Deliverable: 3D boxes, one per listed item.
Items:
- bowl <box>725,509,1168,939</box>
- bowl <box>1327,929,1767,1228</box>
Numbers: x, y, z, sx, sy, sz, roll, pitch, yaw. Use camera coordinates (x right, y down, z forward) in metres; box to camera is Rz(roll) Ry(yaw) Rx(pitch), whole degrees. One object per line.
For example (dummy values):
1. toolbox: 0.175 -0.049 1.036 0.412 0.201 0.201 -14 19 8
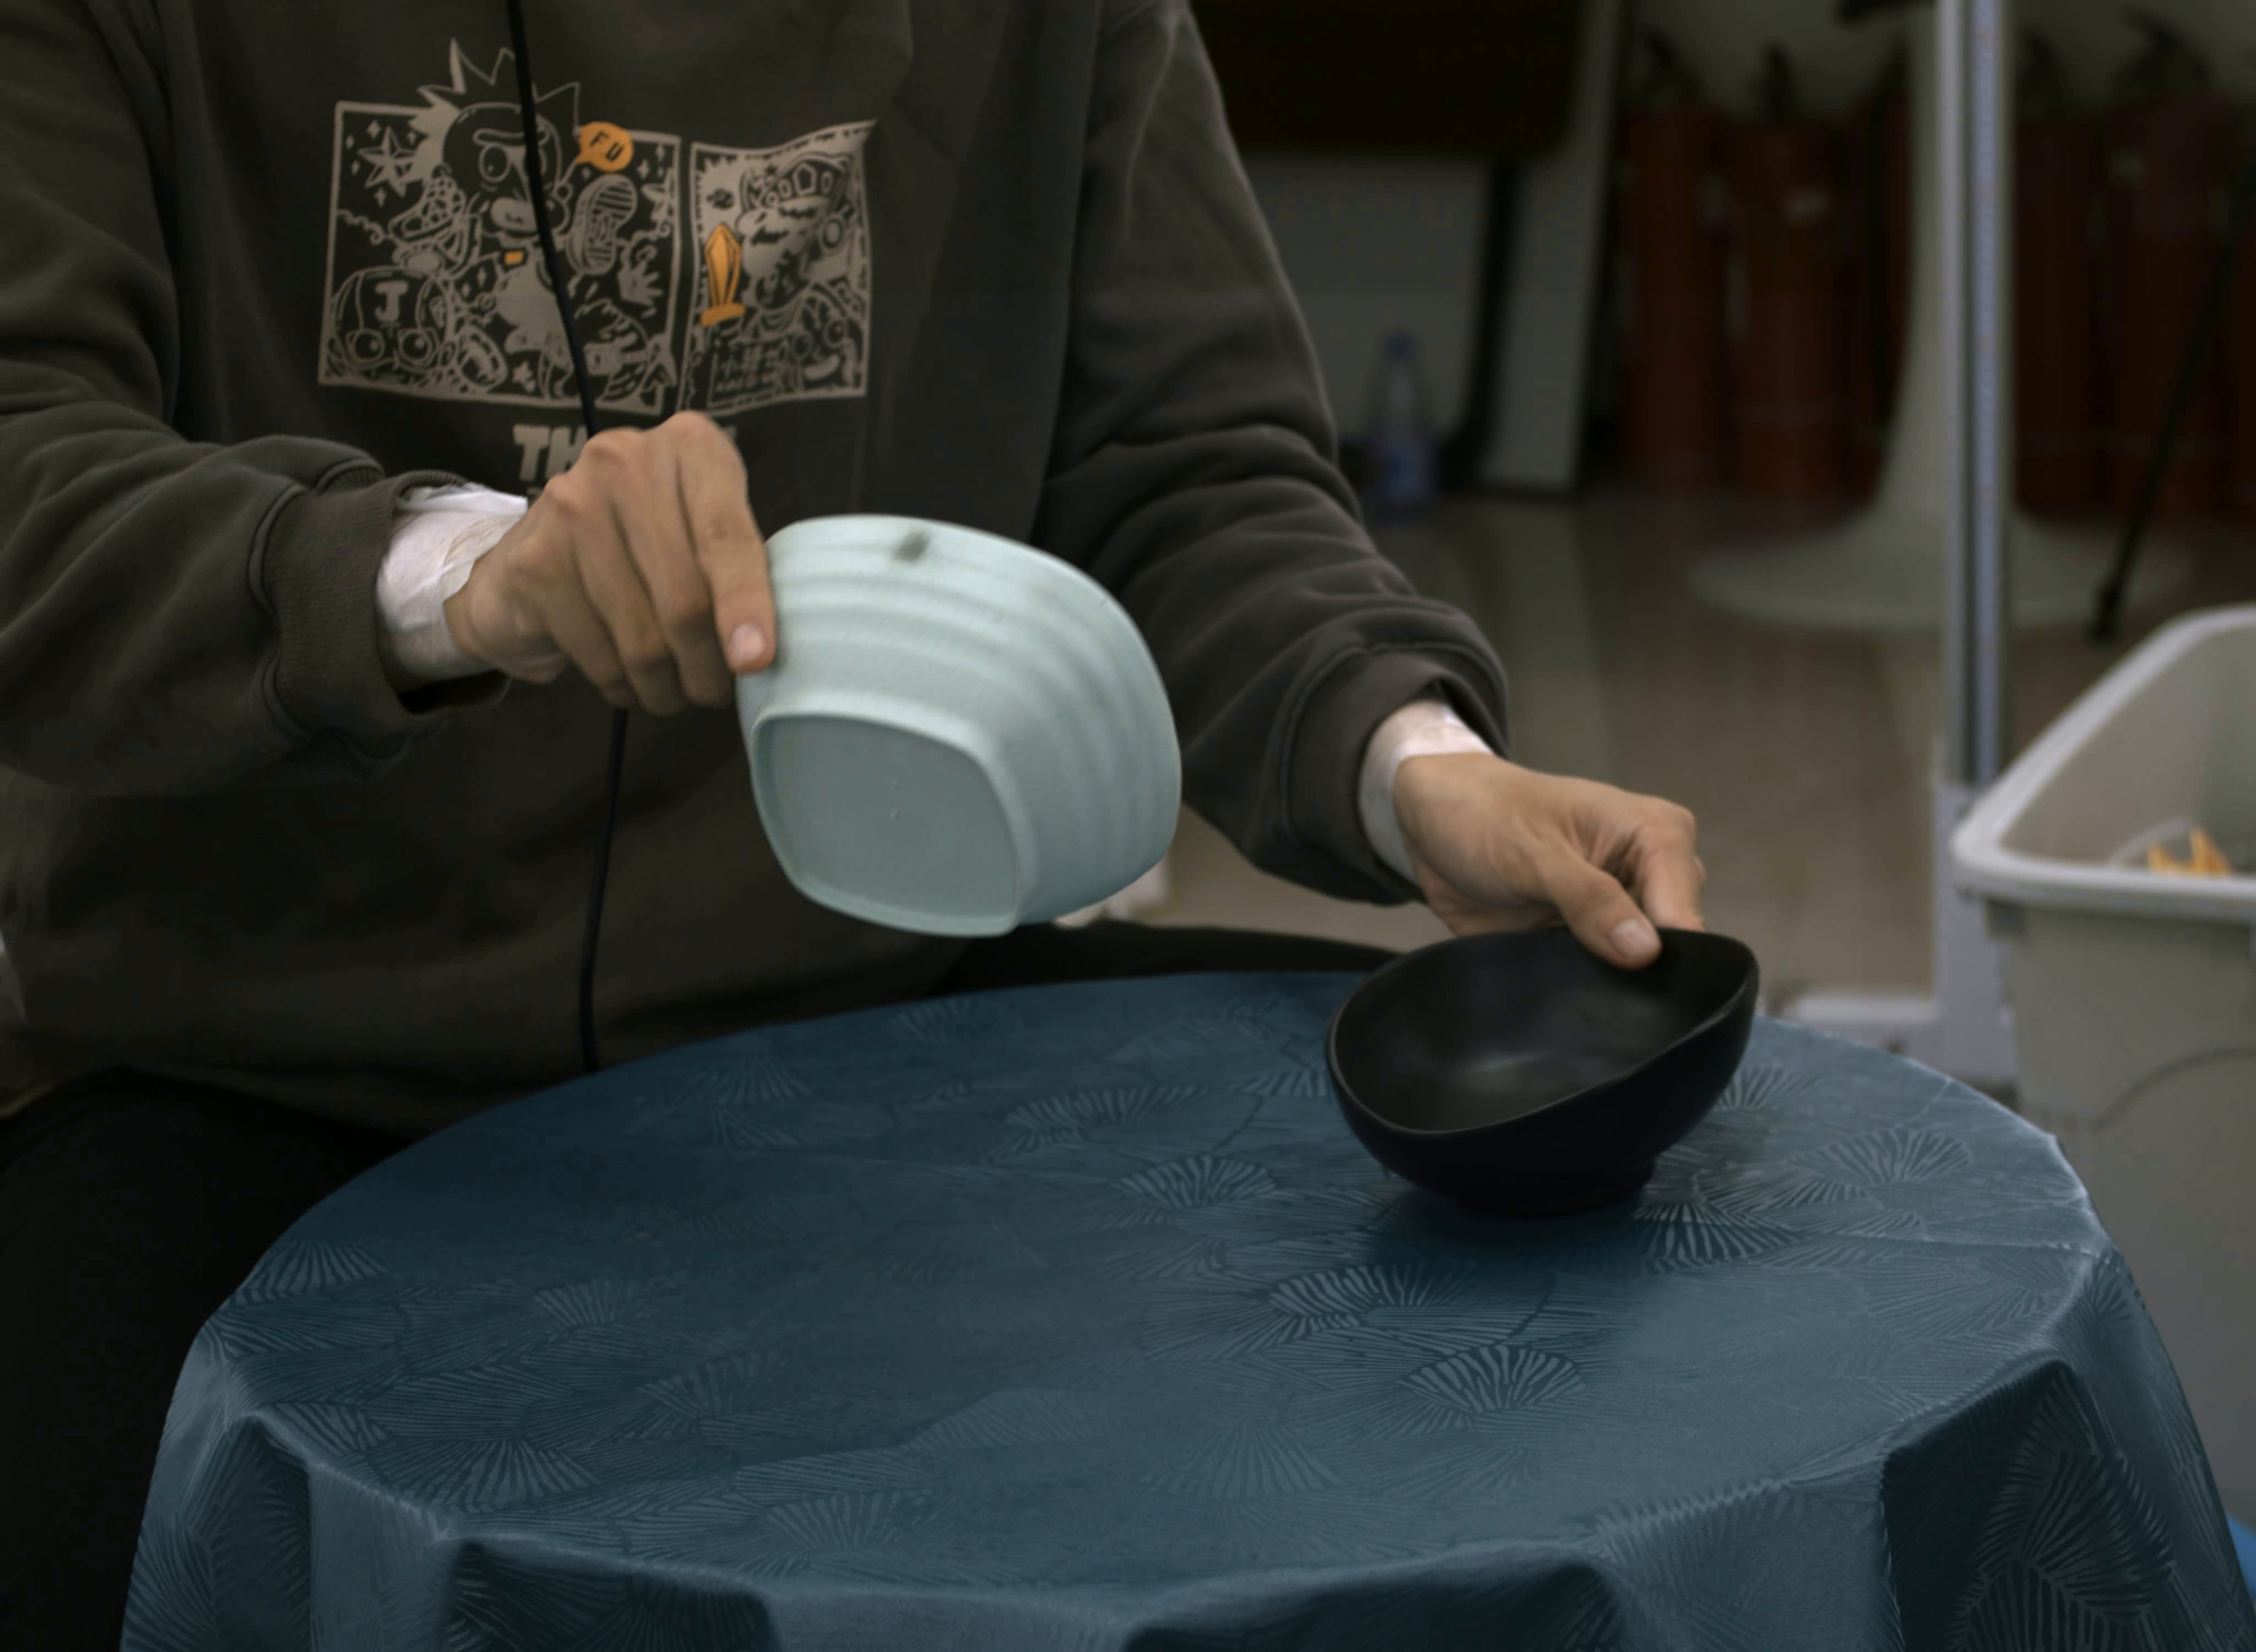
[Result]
1. bowl: -0.062 -0.019 1.569 0.152 0.151 0.058 5 43 31
2. bowl: 0.138 0.087 1.735 0.138 0.067 0.168 1 19 30
